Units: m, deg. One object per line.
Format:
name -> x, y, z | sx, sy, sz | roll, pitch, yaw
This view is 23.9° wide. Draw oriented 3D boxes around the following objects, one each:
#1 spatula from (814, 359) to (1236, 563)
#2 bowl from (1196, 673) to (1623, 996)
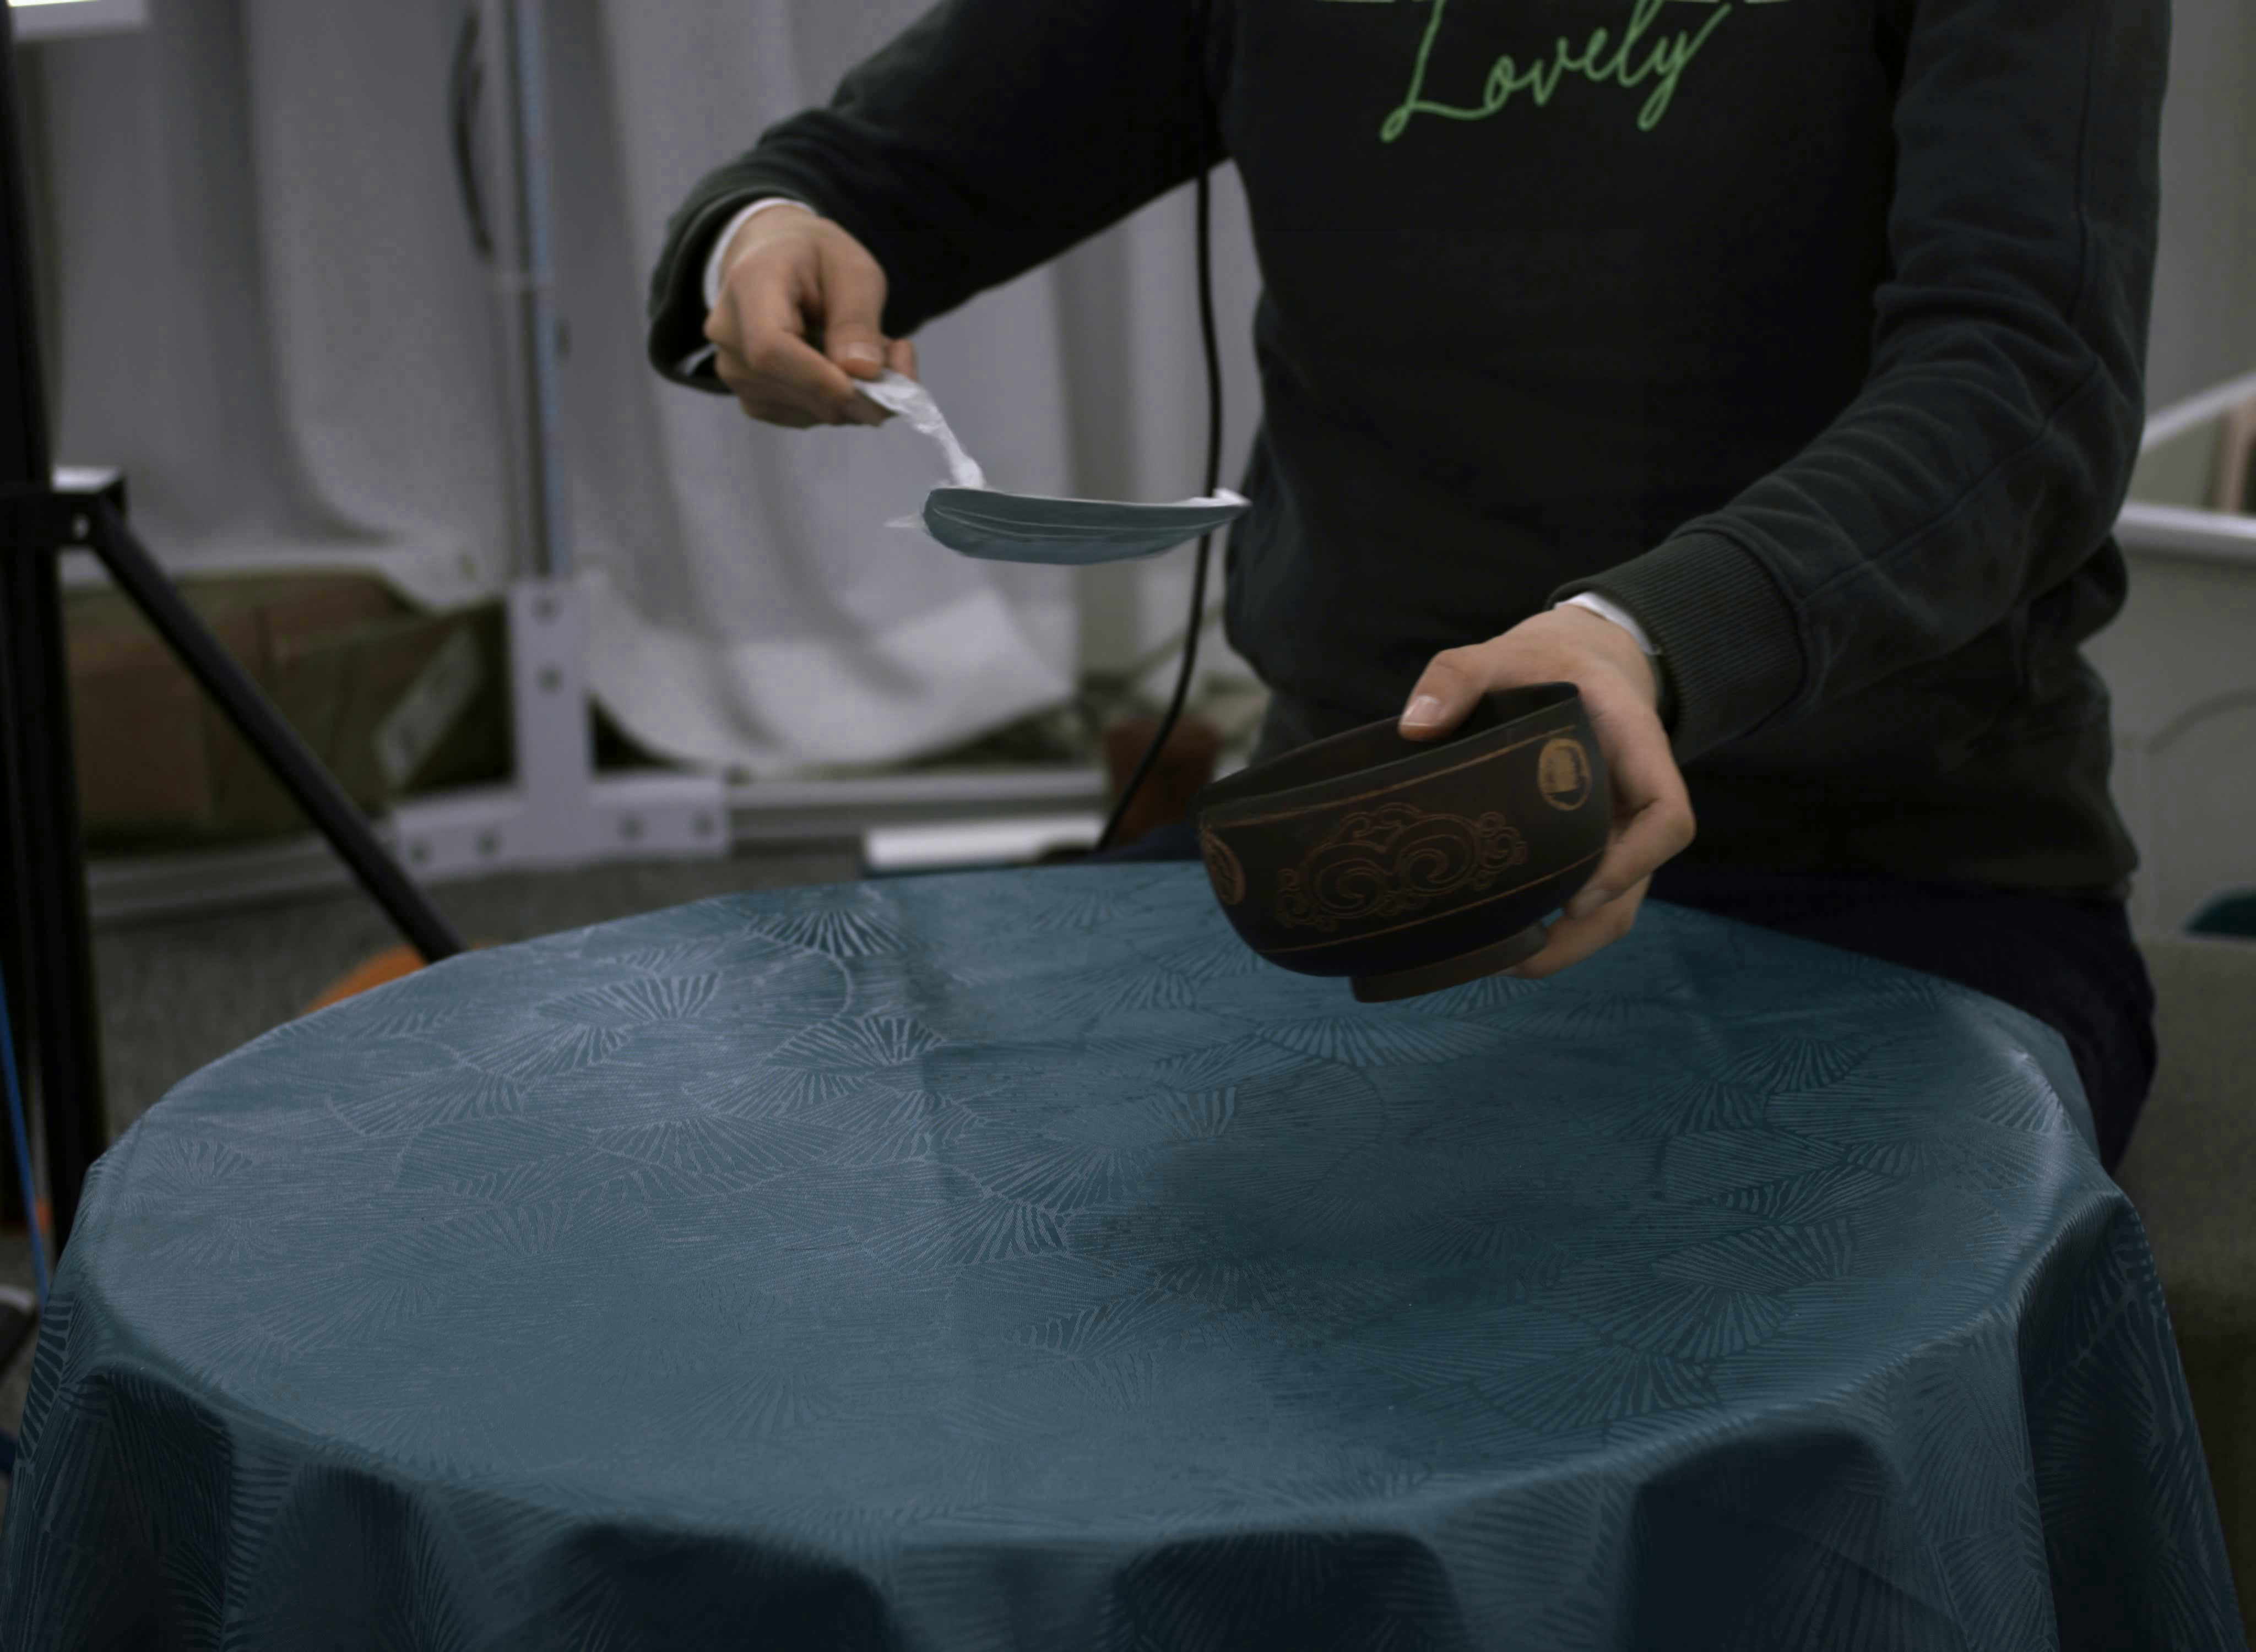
spatula -> -0.058, -0.128, 1.709 | 0.097, 0.045, 0.370 | 1, 16, -16
bowl -> 0.083, 0.007, 1.489 | 0.117, 0.070, 0.118 | -16, 5, 0
